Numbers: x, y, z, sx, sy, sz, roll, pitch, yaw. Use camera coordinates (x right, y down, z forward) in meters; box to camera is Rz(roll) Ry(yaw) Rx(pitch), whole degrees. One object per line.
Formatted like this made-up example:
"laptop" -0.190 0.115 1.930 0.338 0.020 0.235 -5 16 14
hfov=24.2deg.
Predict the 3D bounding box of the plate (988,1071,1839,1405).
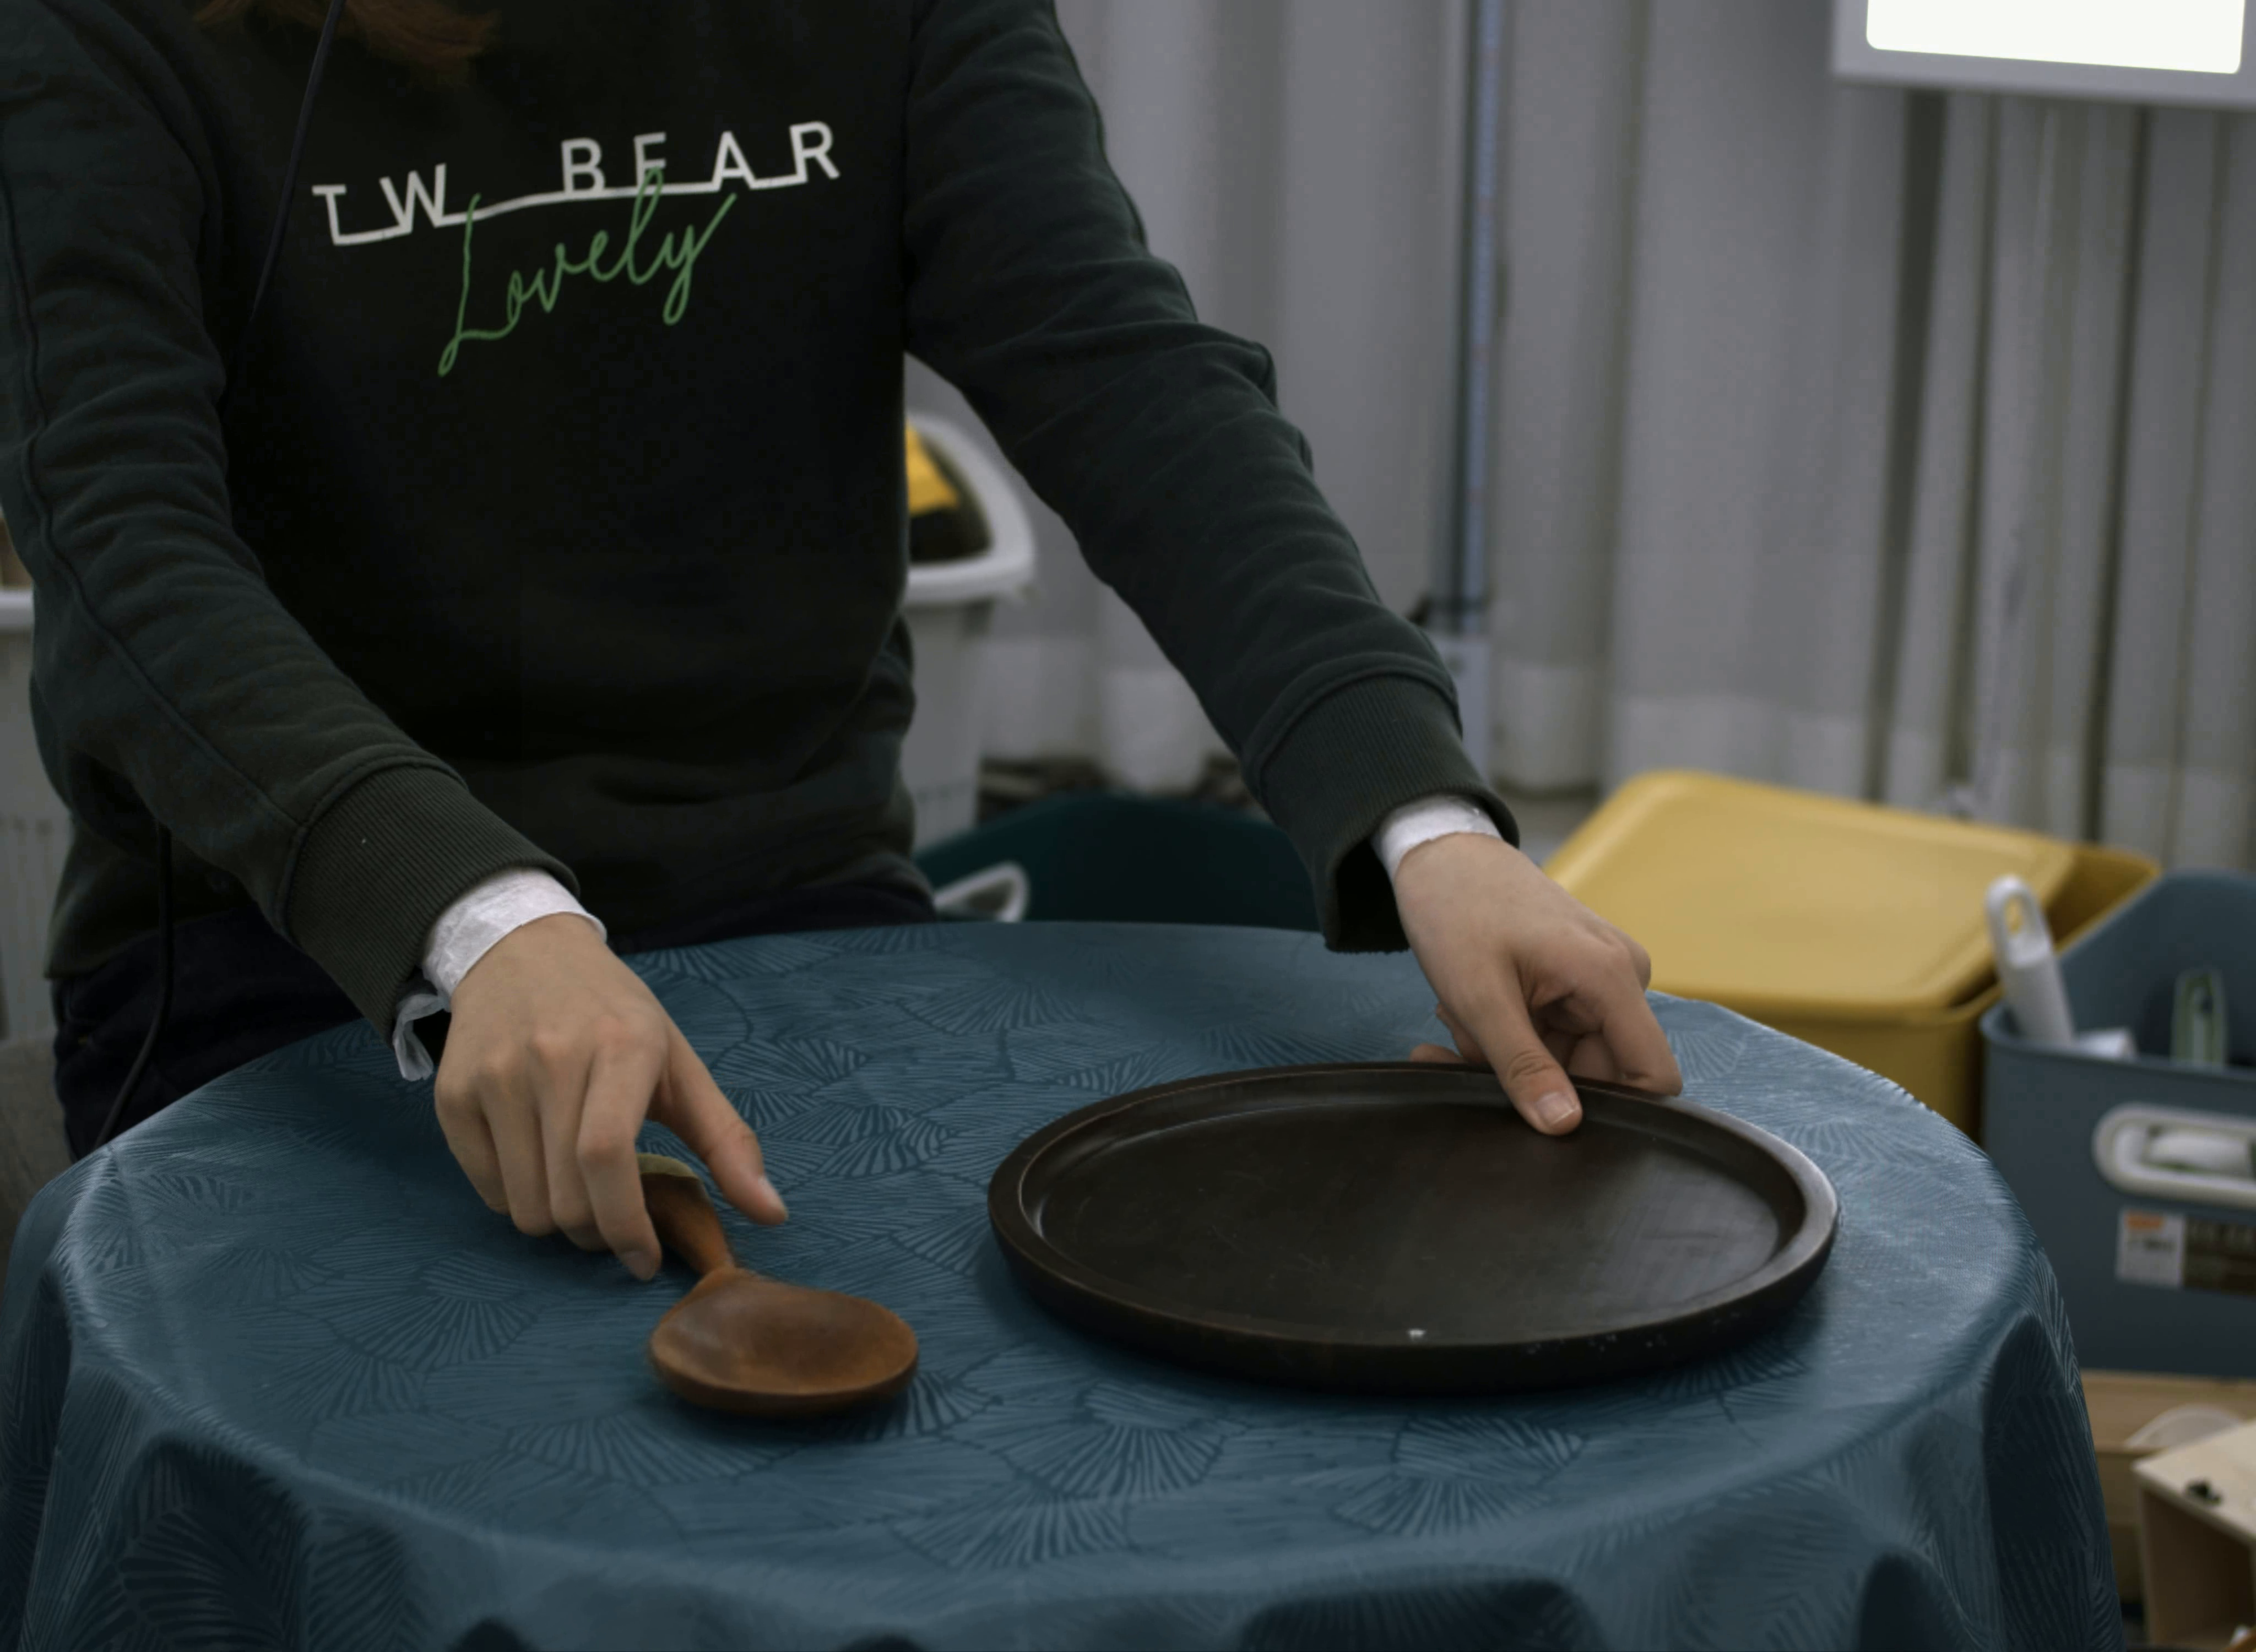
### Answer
"plate" 0.085 0.119 1.567 0.254 0.029 0.253 2 17 0

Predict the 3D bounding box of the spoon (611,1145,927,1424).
"spoon" -0.114 0.133 1.519 0.075 0.017 0.213 -5 17 -18
